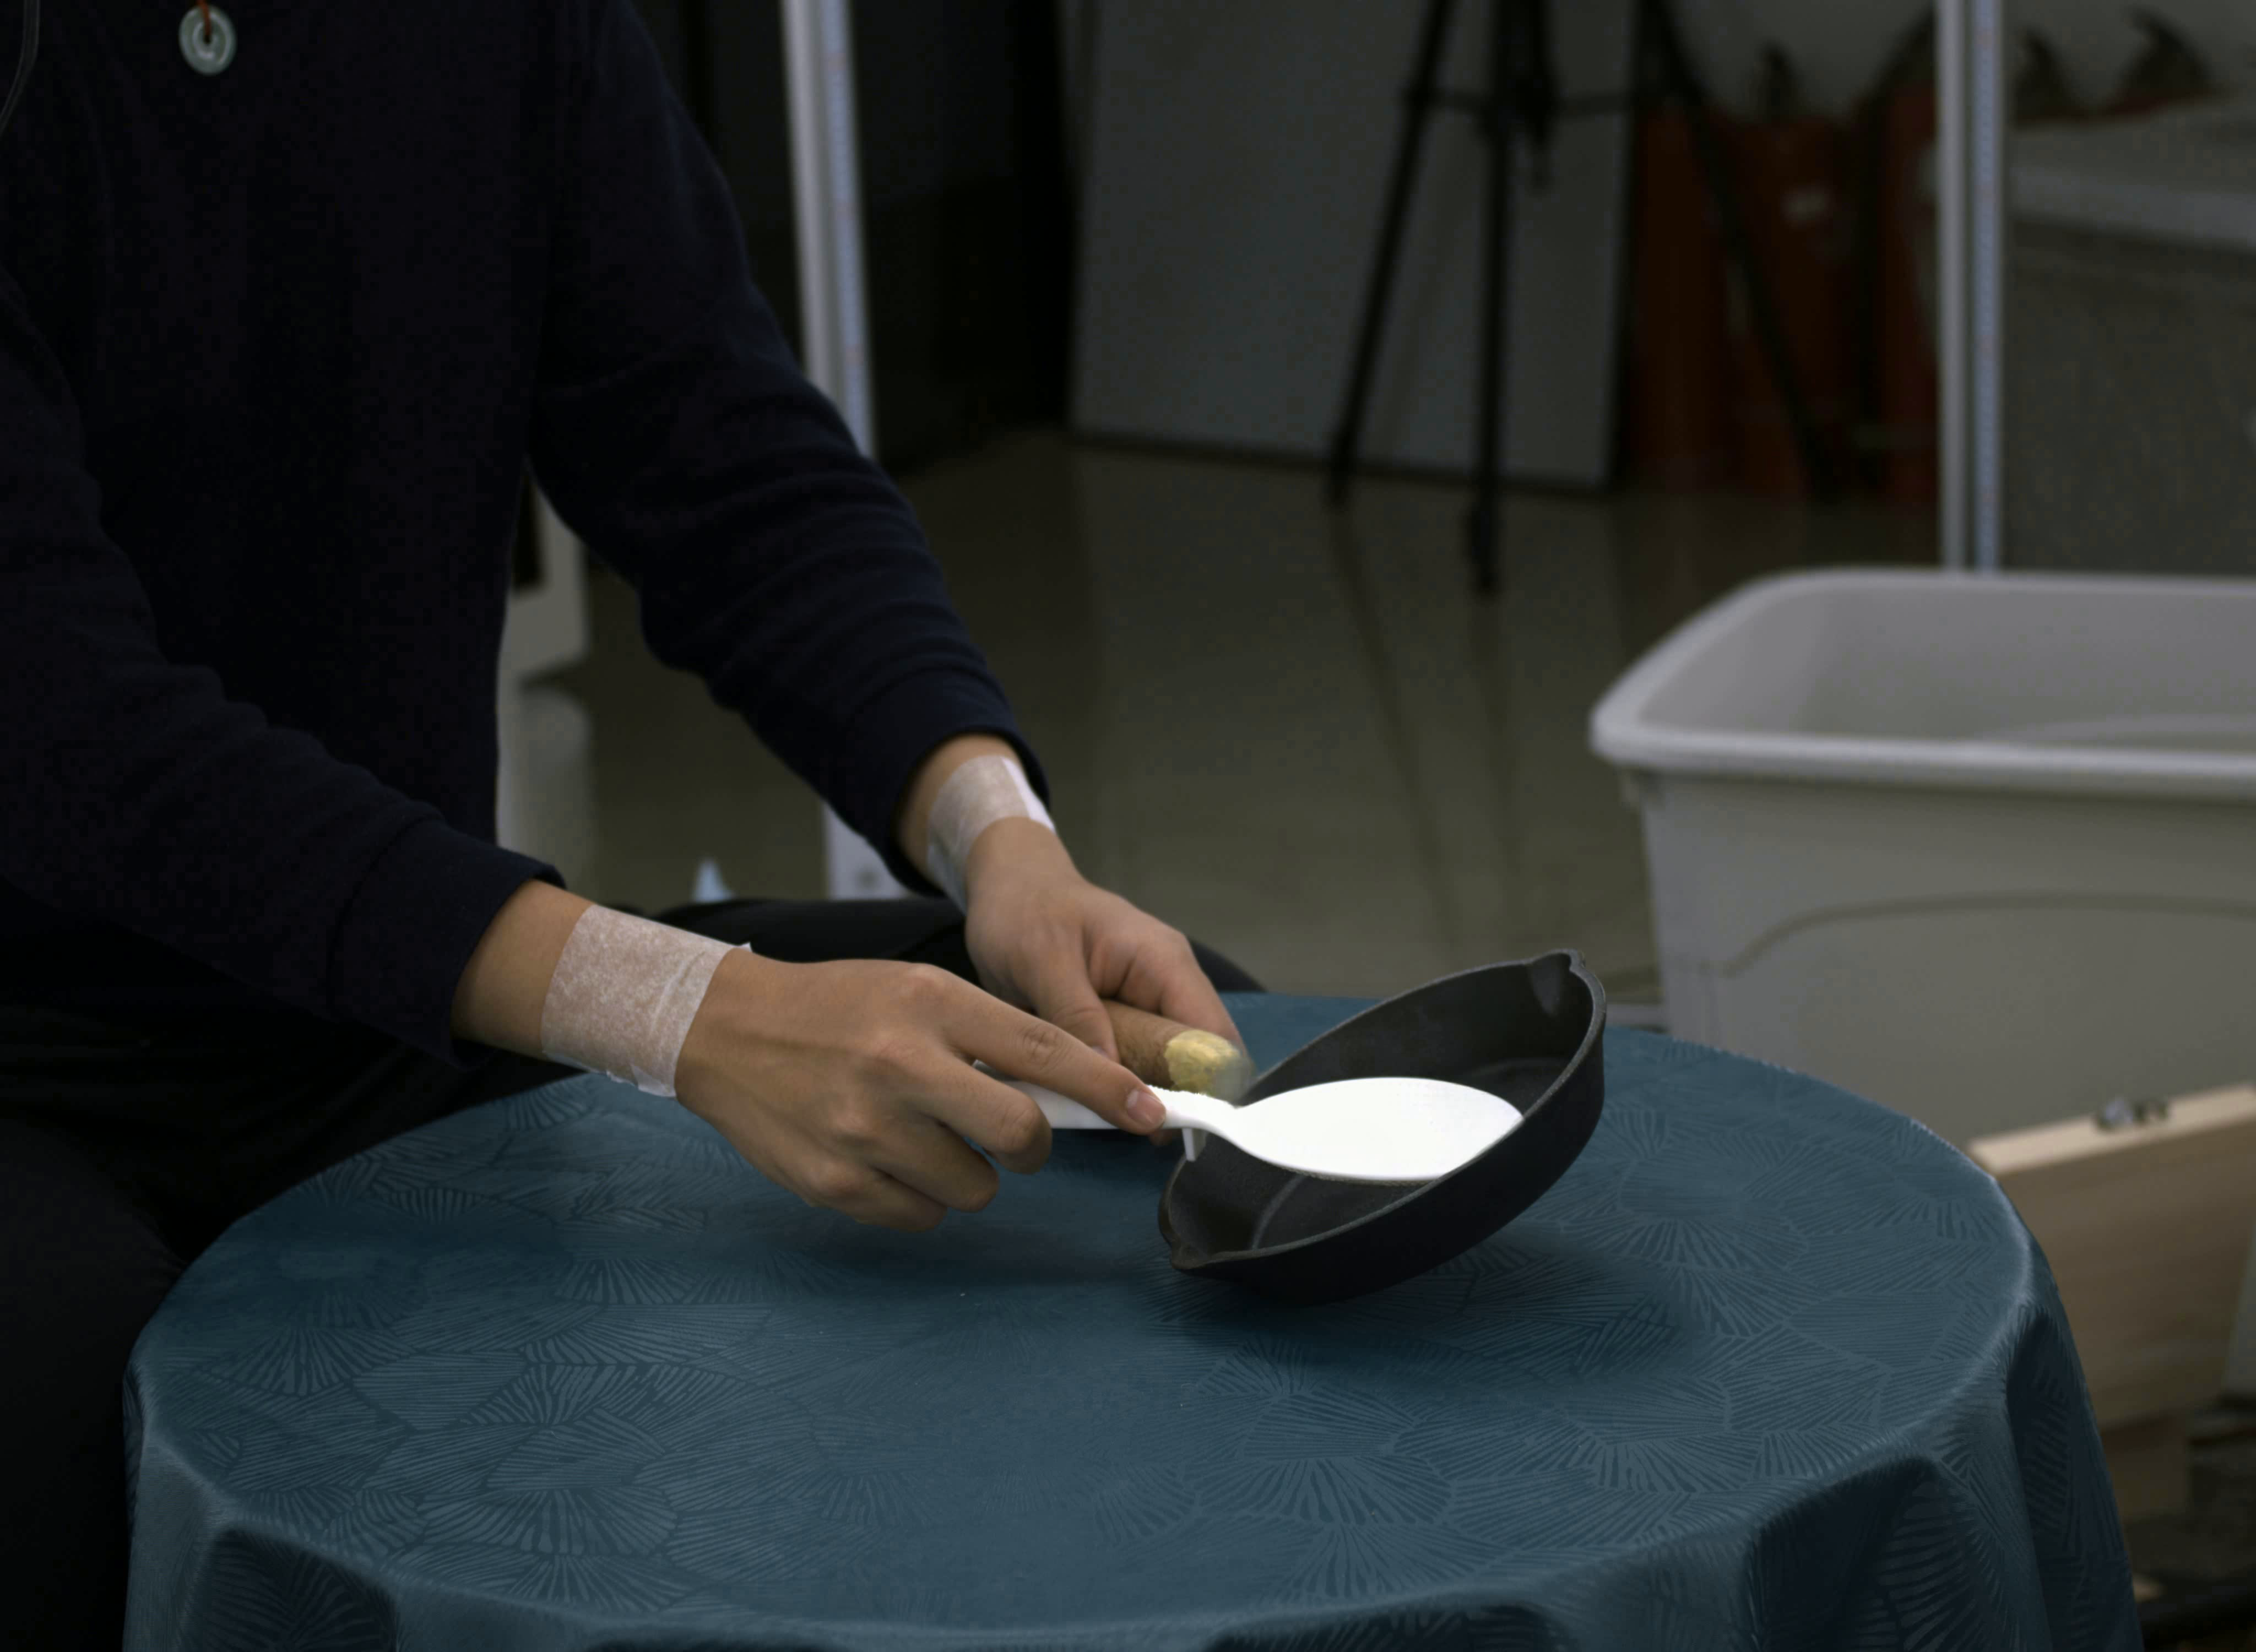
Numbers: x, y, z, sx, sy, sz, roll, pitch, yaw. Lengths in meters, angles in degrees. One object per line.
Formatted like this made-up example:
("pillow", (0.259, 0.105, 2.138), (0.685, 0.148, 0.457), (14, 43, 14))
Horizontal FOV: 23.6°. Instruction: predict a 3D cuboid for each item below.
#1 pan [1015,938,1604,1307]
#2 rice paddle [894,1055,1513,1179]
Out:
("pan", (0.044, 0.085, 1.741), (0.167, 0.049, 0.327), (-37, 19, -18))
("rice paddle", (0.026, 0.089, 1.683), (0.205, 0.029, 0.068), (1, 25, 20))
